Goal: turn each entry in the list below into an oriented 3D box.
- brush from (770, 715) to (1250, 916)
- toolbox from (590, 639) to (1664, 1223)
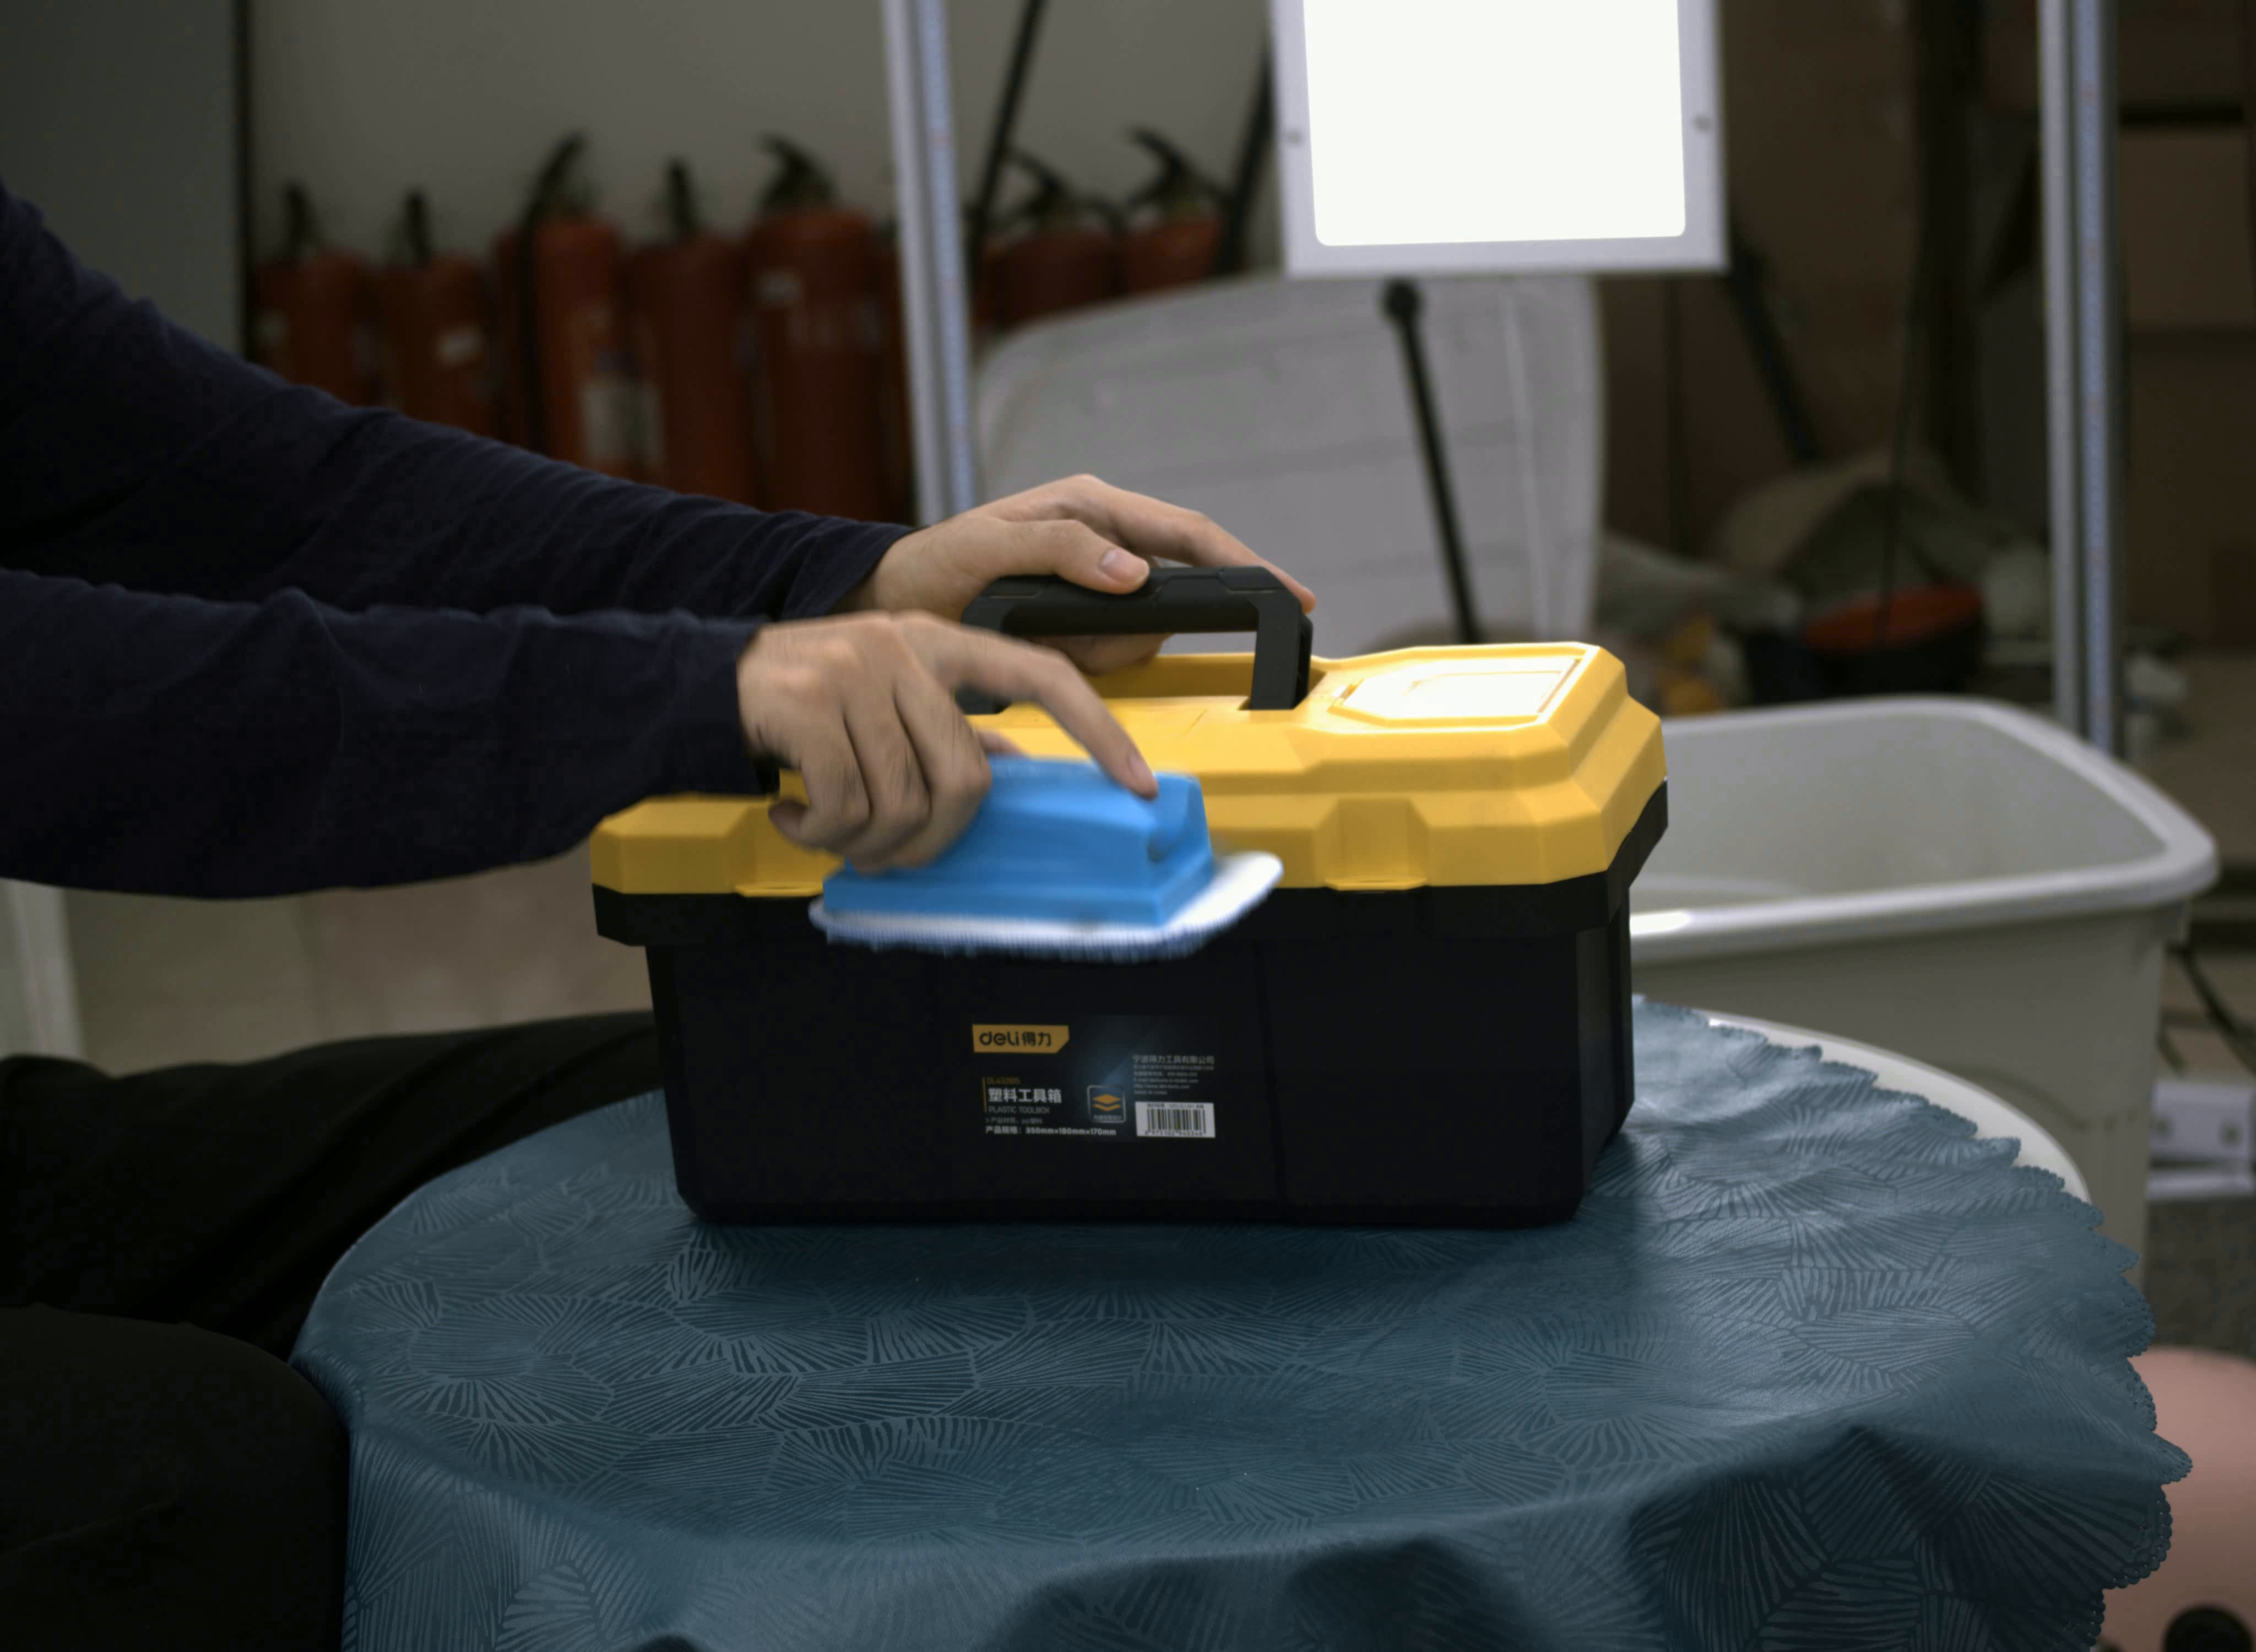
[{"bbox_3d":[-0.037,-0.004,1.715,0.146,0.056,0.082,5,19,31],"label":"brush"},{"bbox_3d":[0.004,0.037,1.895,0.355,0.173,0.178,-1,14,17],"label":"toolbox"}]
